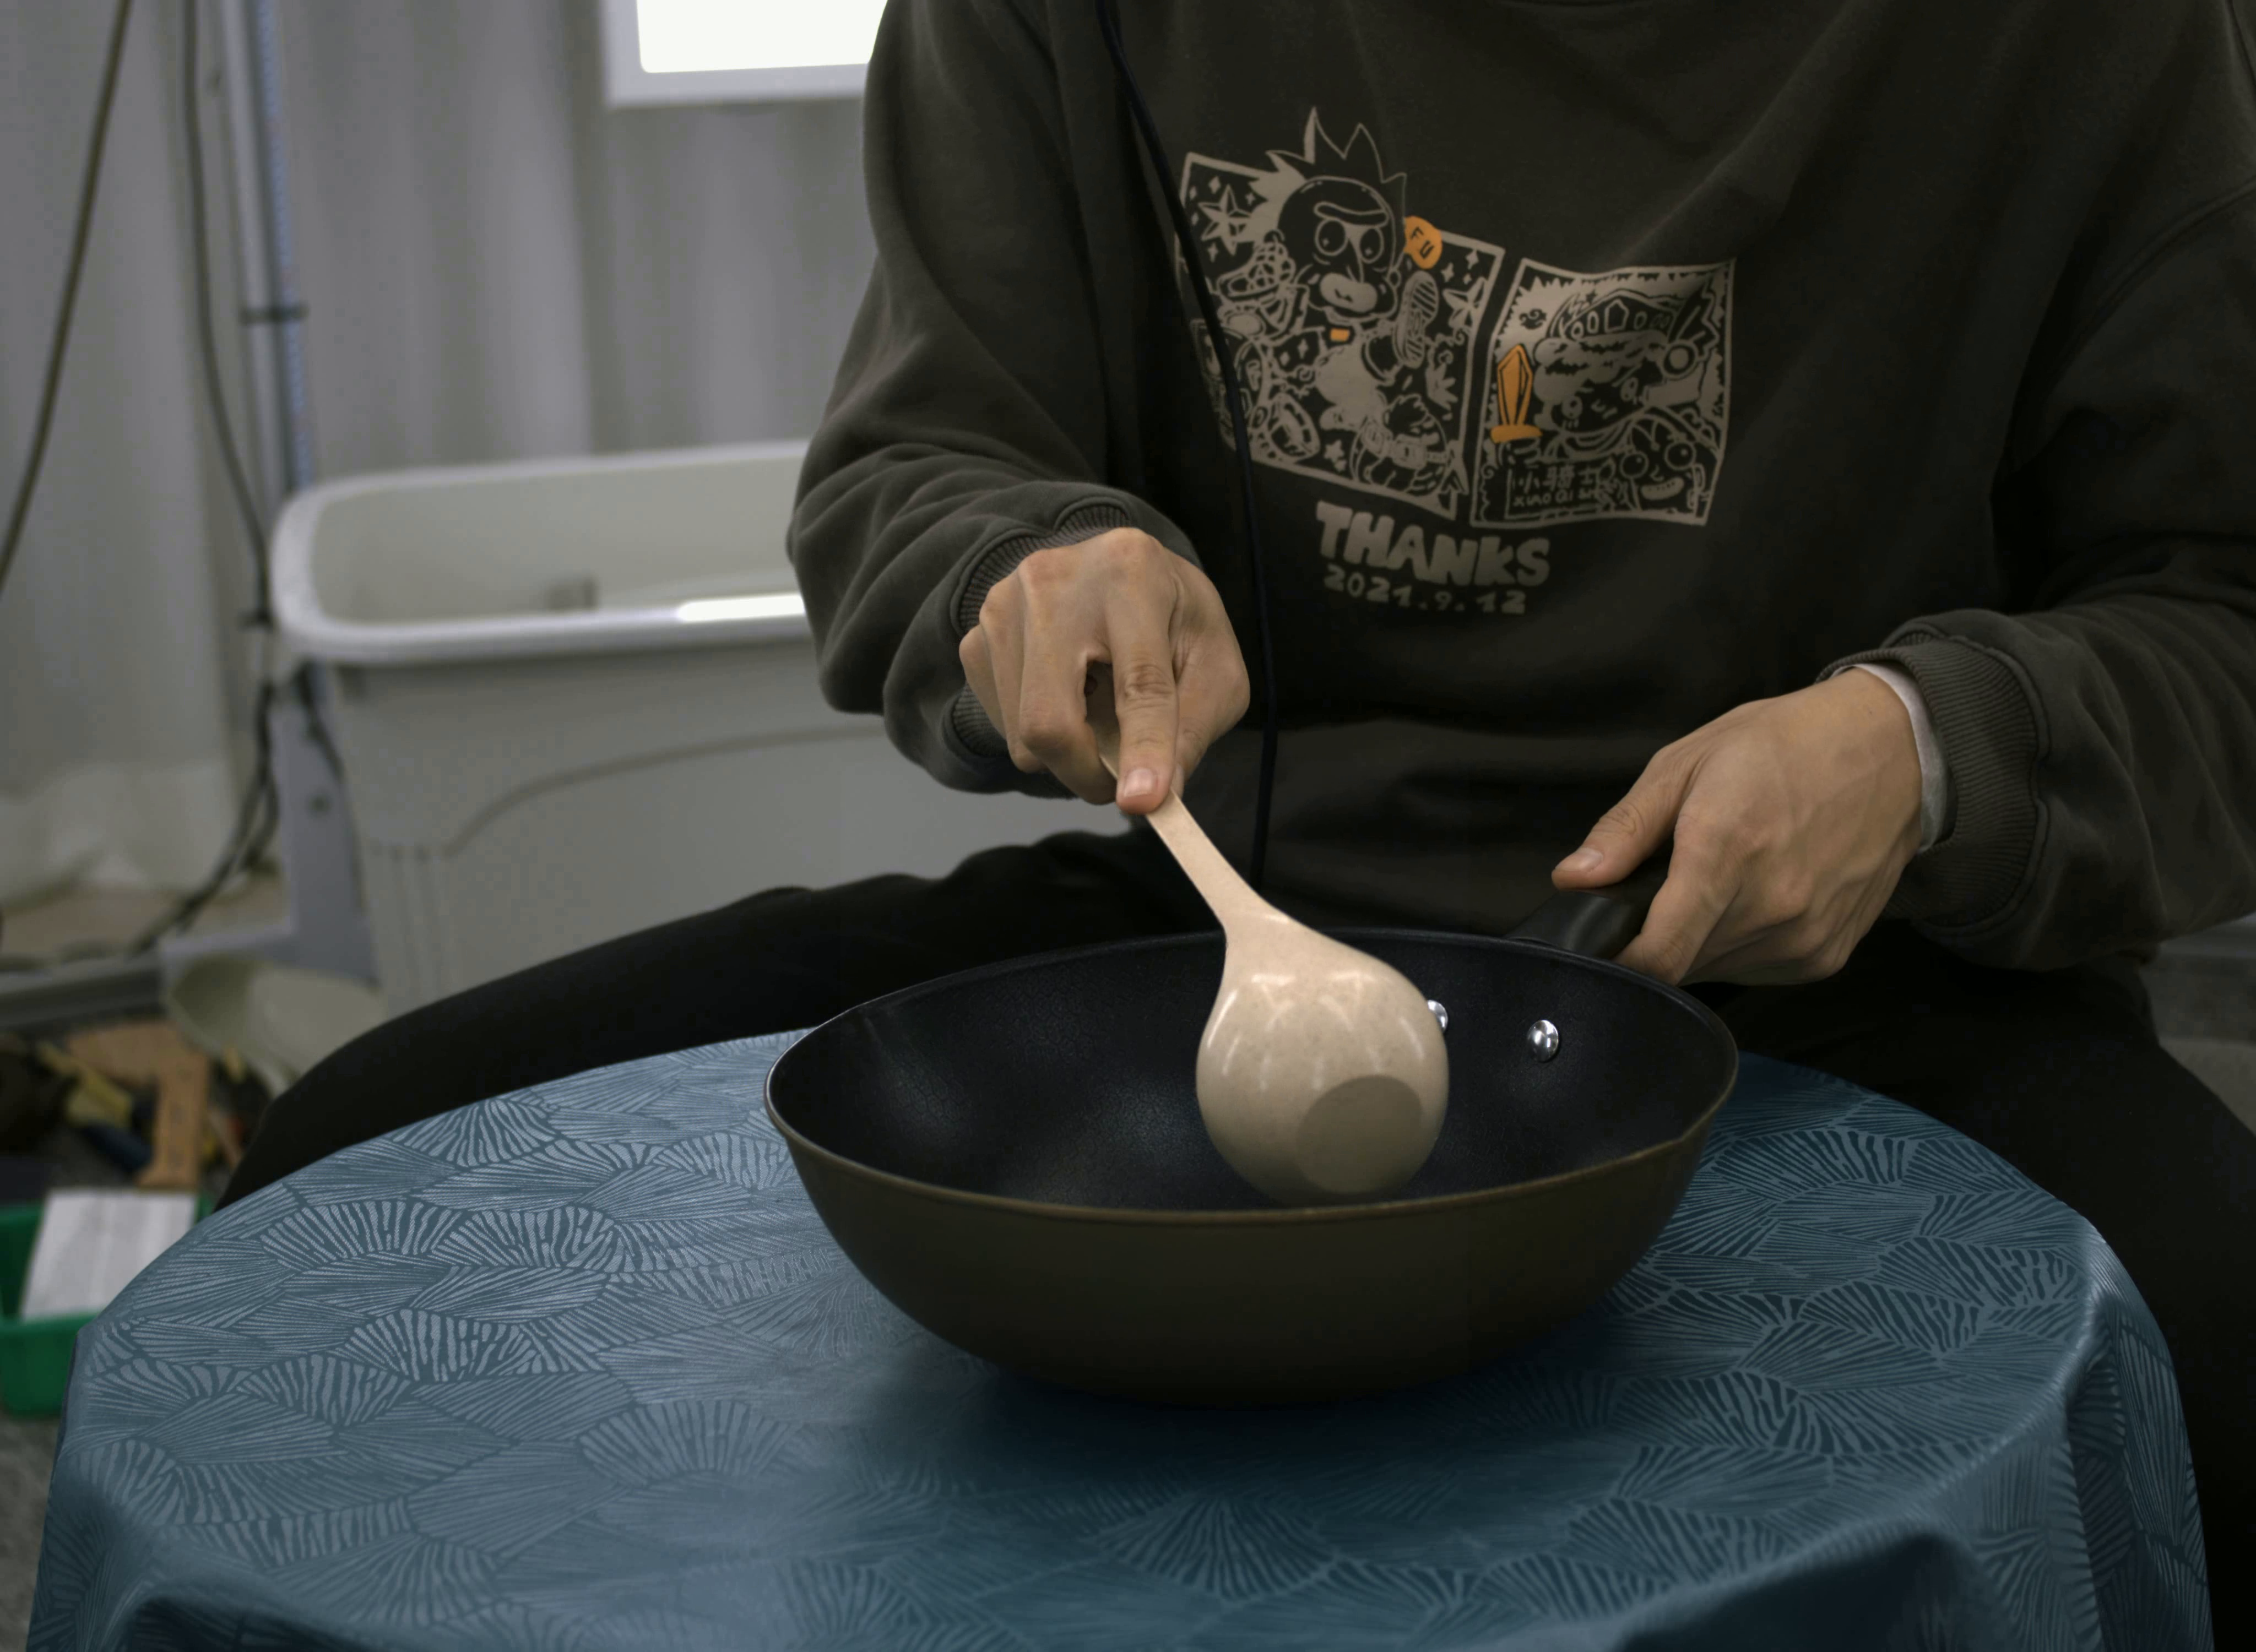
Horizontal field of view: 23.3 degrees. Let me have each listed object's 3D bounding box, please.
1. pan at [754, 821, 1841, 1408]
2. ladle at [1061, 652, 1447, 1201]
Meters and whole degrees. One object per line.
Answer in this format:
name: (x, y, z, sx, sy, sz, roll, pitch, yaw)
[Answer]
pan: (0.087, 0.084, 1.660, 0.289, 0.086, 0.463, 8, 17, 35)
ladle: (0.028, 0.030, 1.632, 0.072, 0.072, 0.257, -24, 29, -5)
